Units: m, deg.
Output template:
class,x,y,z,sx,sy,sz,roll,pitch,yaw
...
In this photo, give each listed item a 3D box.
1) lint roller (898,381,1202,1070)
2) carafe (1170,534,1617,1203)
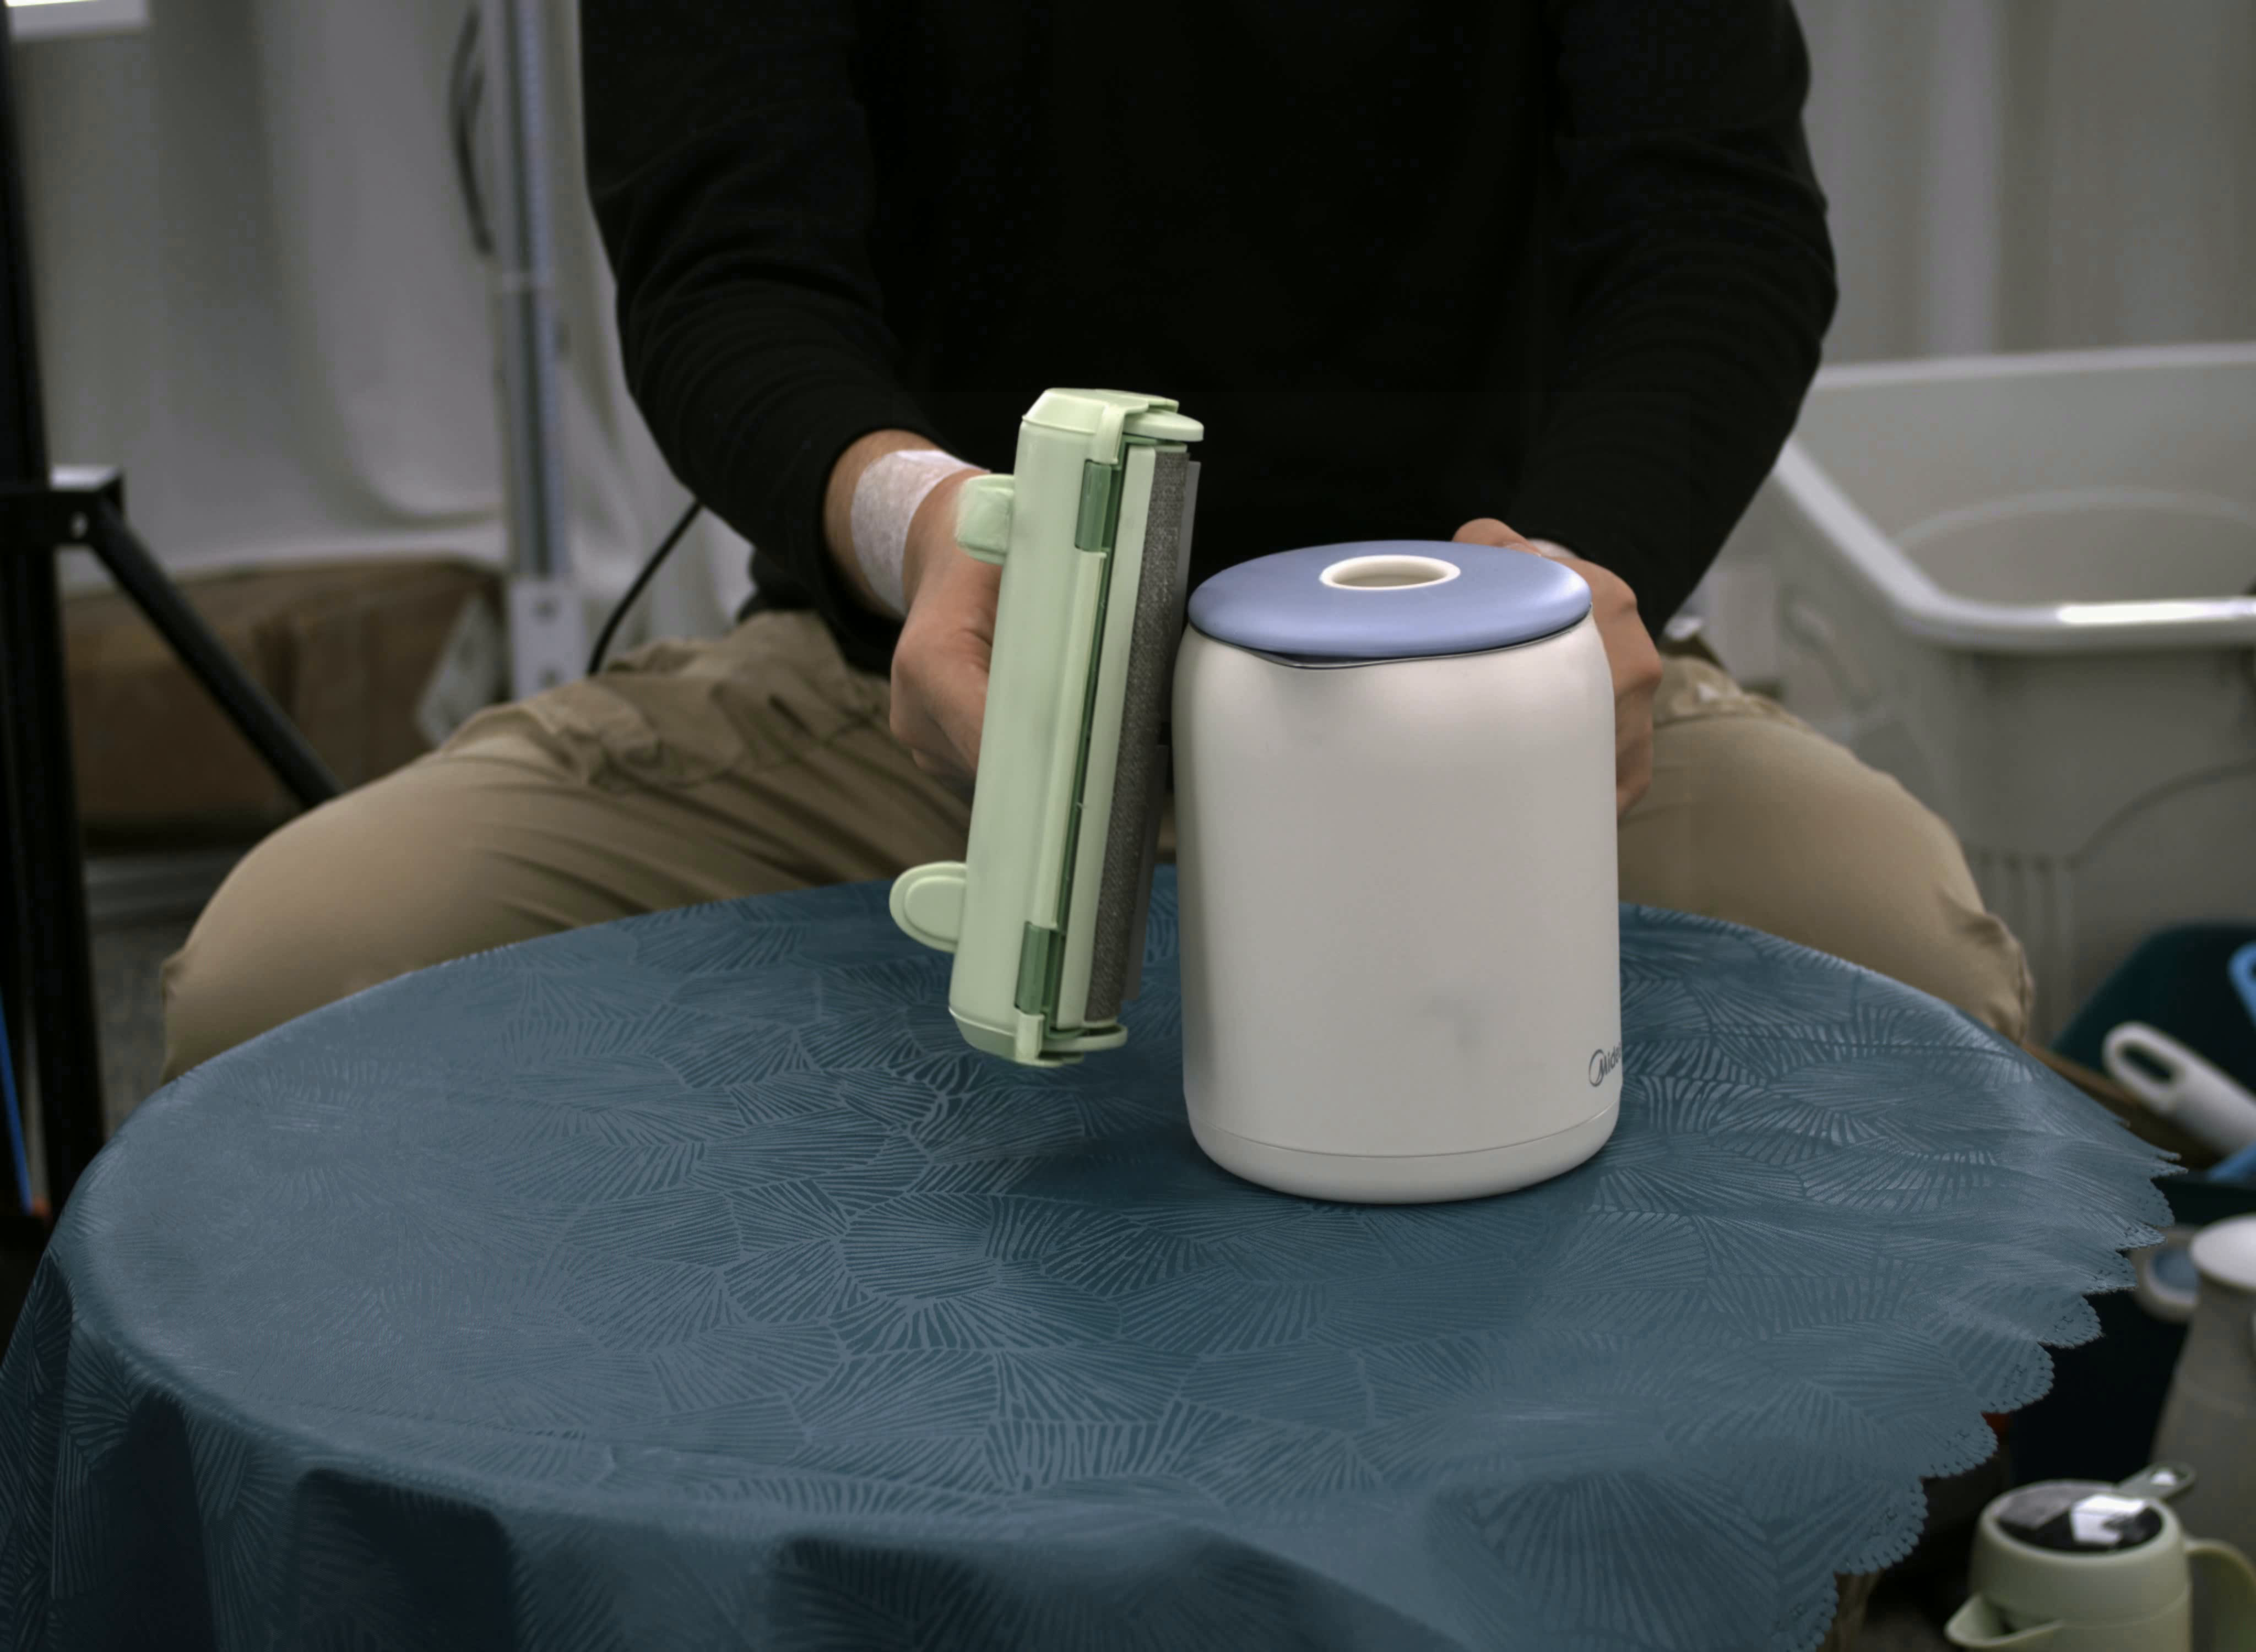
class,x,y,z,sx,sy,sz,roll,pitch,yaw
lint roller,-0.031,-0.039,1.609,0.081,0.199,0.185,5,8,-12
carafe,0.088,0.006,1.590,0.134,0.182,0.188,5,15,22
